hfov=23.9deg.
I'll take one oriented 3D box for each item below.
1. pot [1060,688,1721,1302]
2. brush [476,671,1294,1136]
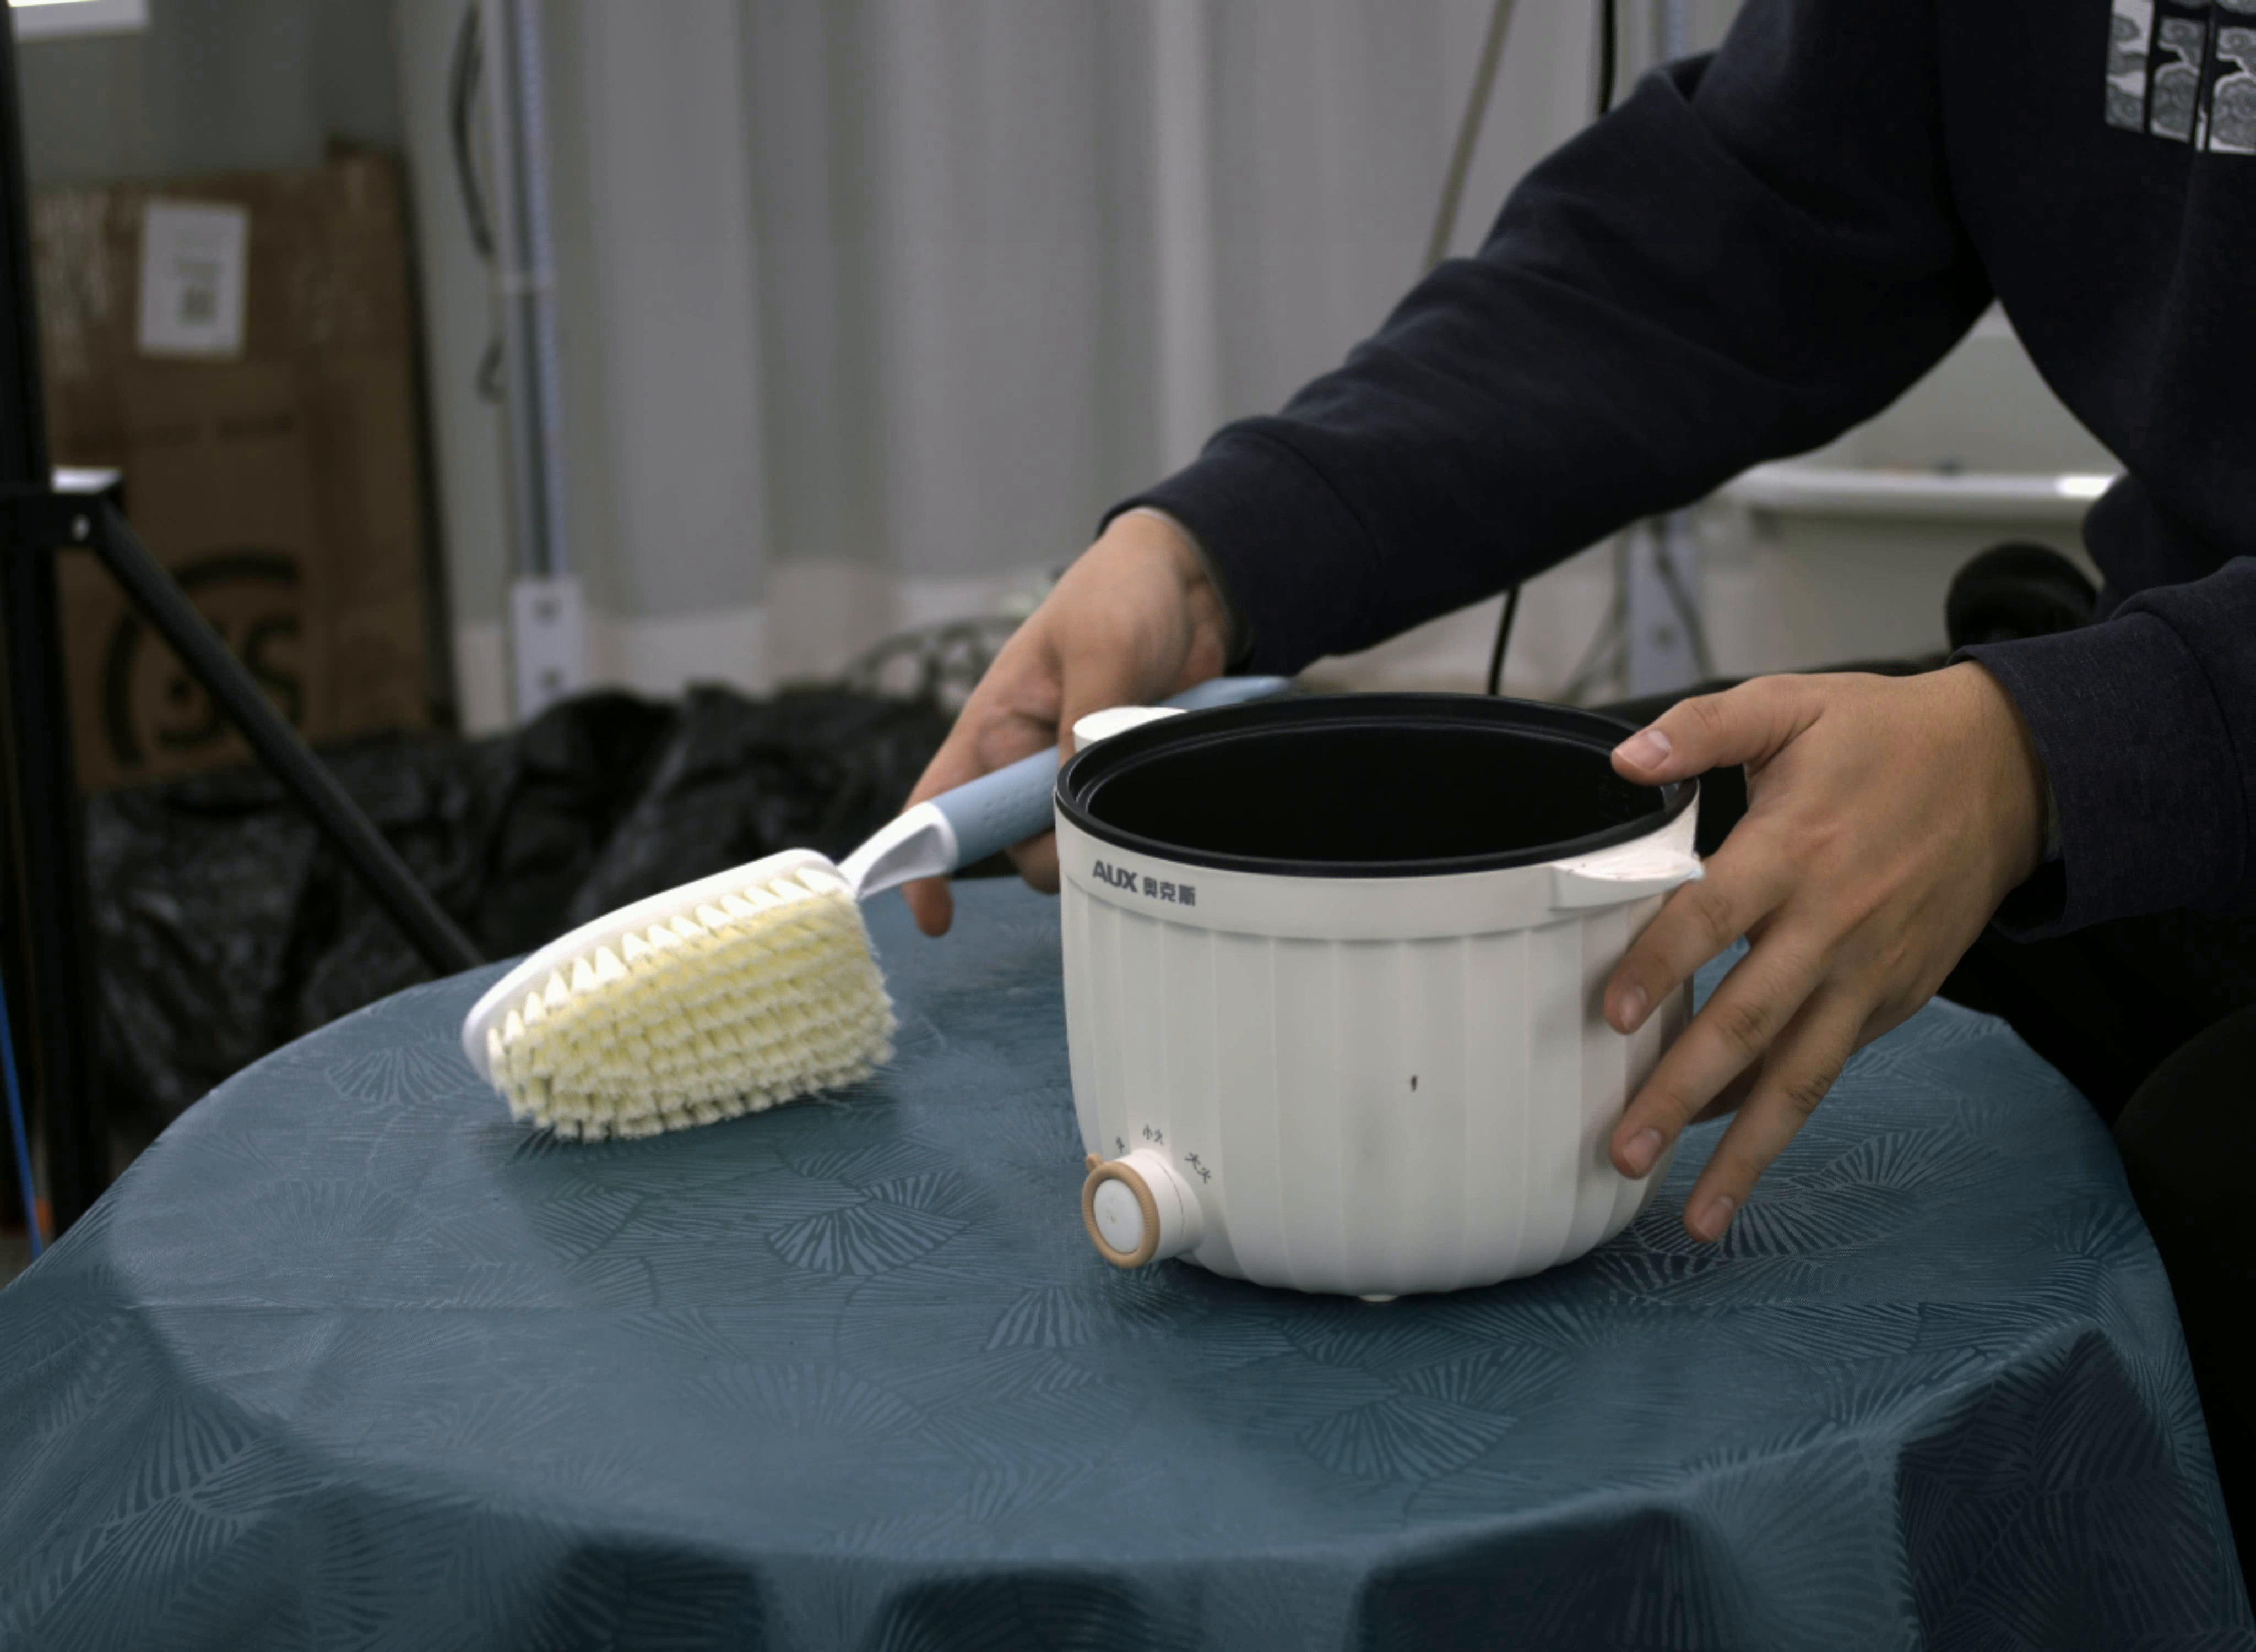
[{"bbox_3d":[0.069,0.050,1.498,0.186,0.143,0.246,-11,17,-39],"label":"pot"},{"bbox_3d":[-0.057,0.017,1.685,0.319,0.083,0.086,-24,64,-29],"label":"brush"}]
